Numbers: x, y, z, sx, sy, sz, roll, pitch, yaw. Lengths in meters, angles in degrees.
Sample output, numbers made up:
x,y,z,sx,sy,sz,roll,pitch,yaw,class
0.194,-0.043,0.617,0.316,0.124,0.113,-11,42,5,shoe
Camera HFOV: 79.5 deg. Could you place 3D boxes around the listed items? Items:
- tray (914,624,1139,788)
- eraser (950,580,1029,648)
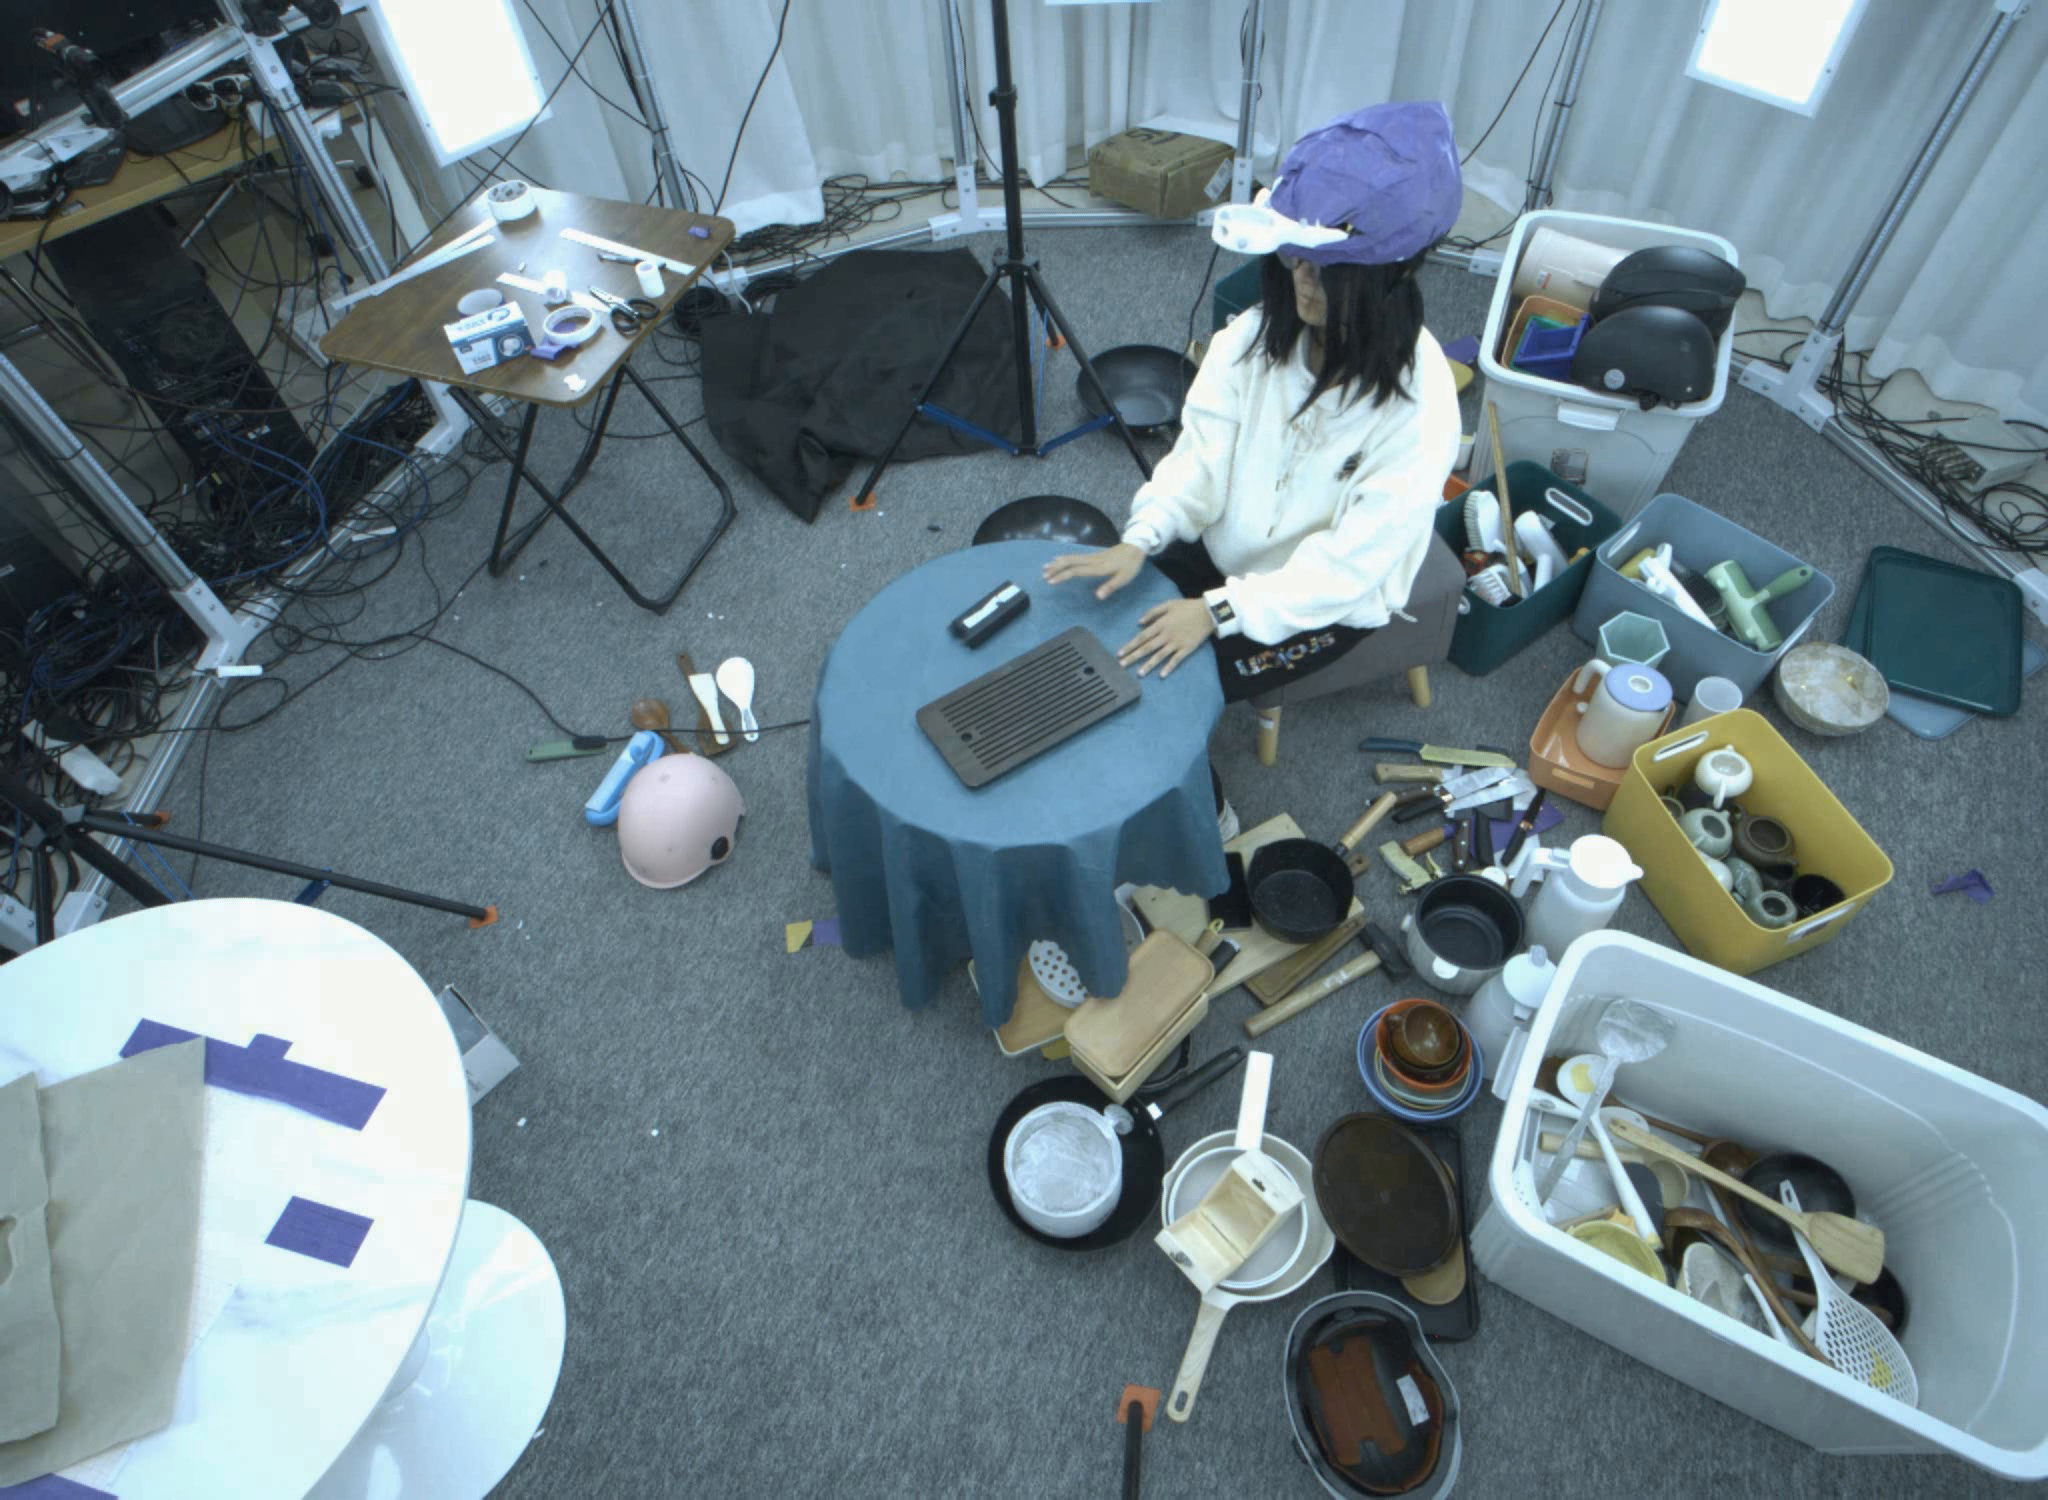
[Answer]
x,y,z,sx,sy,sz,roll,pitch,yaw,class
0.004,-0.068,1.825,0.308,0.019,0.167,-30,59,-17,tray
-0.054,-0.213,1.924,0.052,0.031,0.126,40,64,22,eraser
